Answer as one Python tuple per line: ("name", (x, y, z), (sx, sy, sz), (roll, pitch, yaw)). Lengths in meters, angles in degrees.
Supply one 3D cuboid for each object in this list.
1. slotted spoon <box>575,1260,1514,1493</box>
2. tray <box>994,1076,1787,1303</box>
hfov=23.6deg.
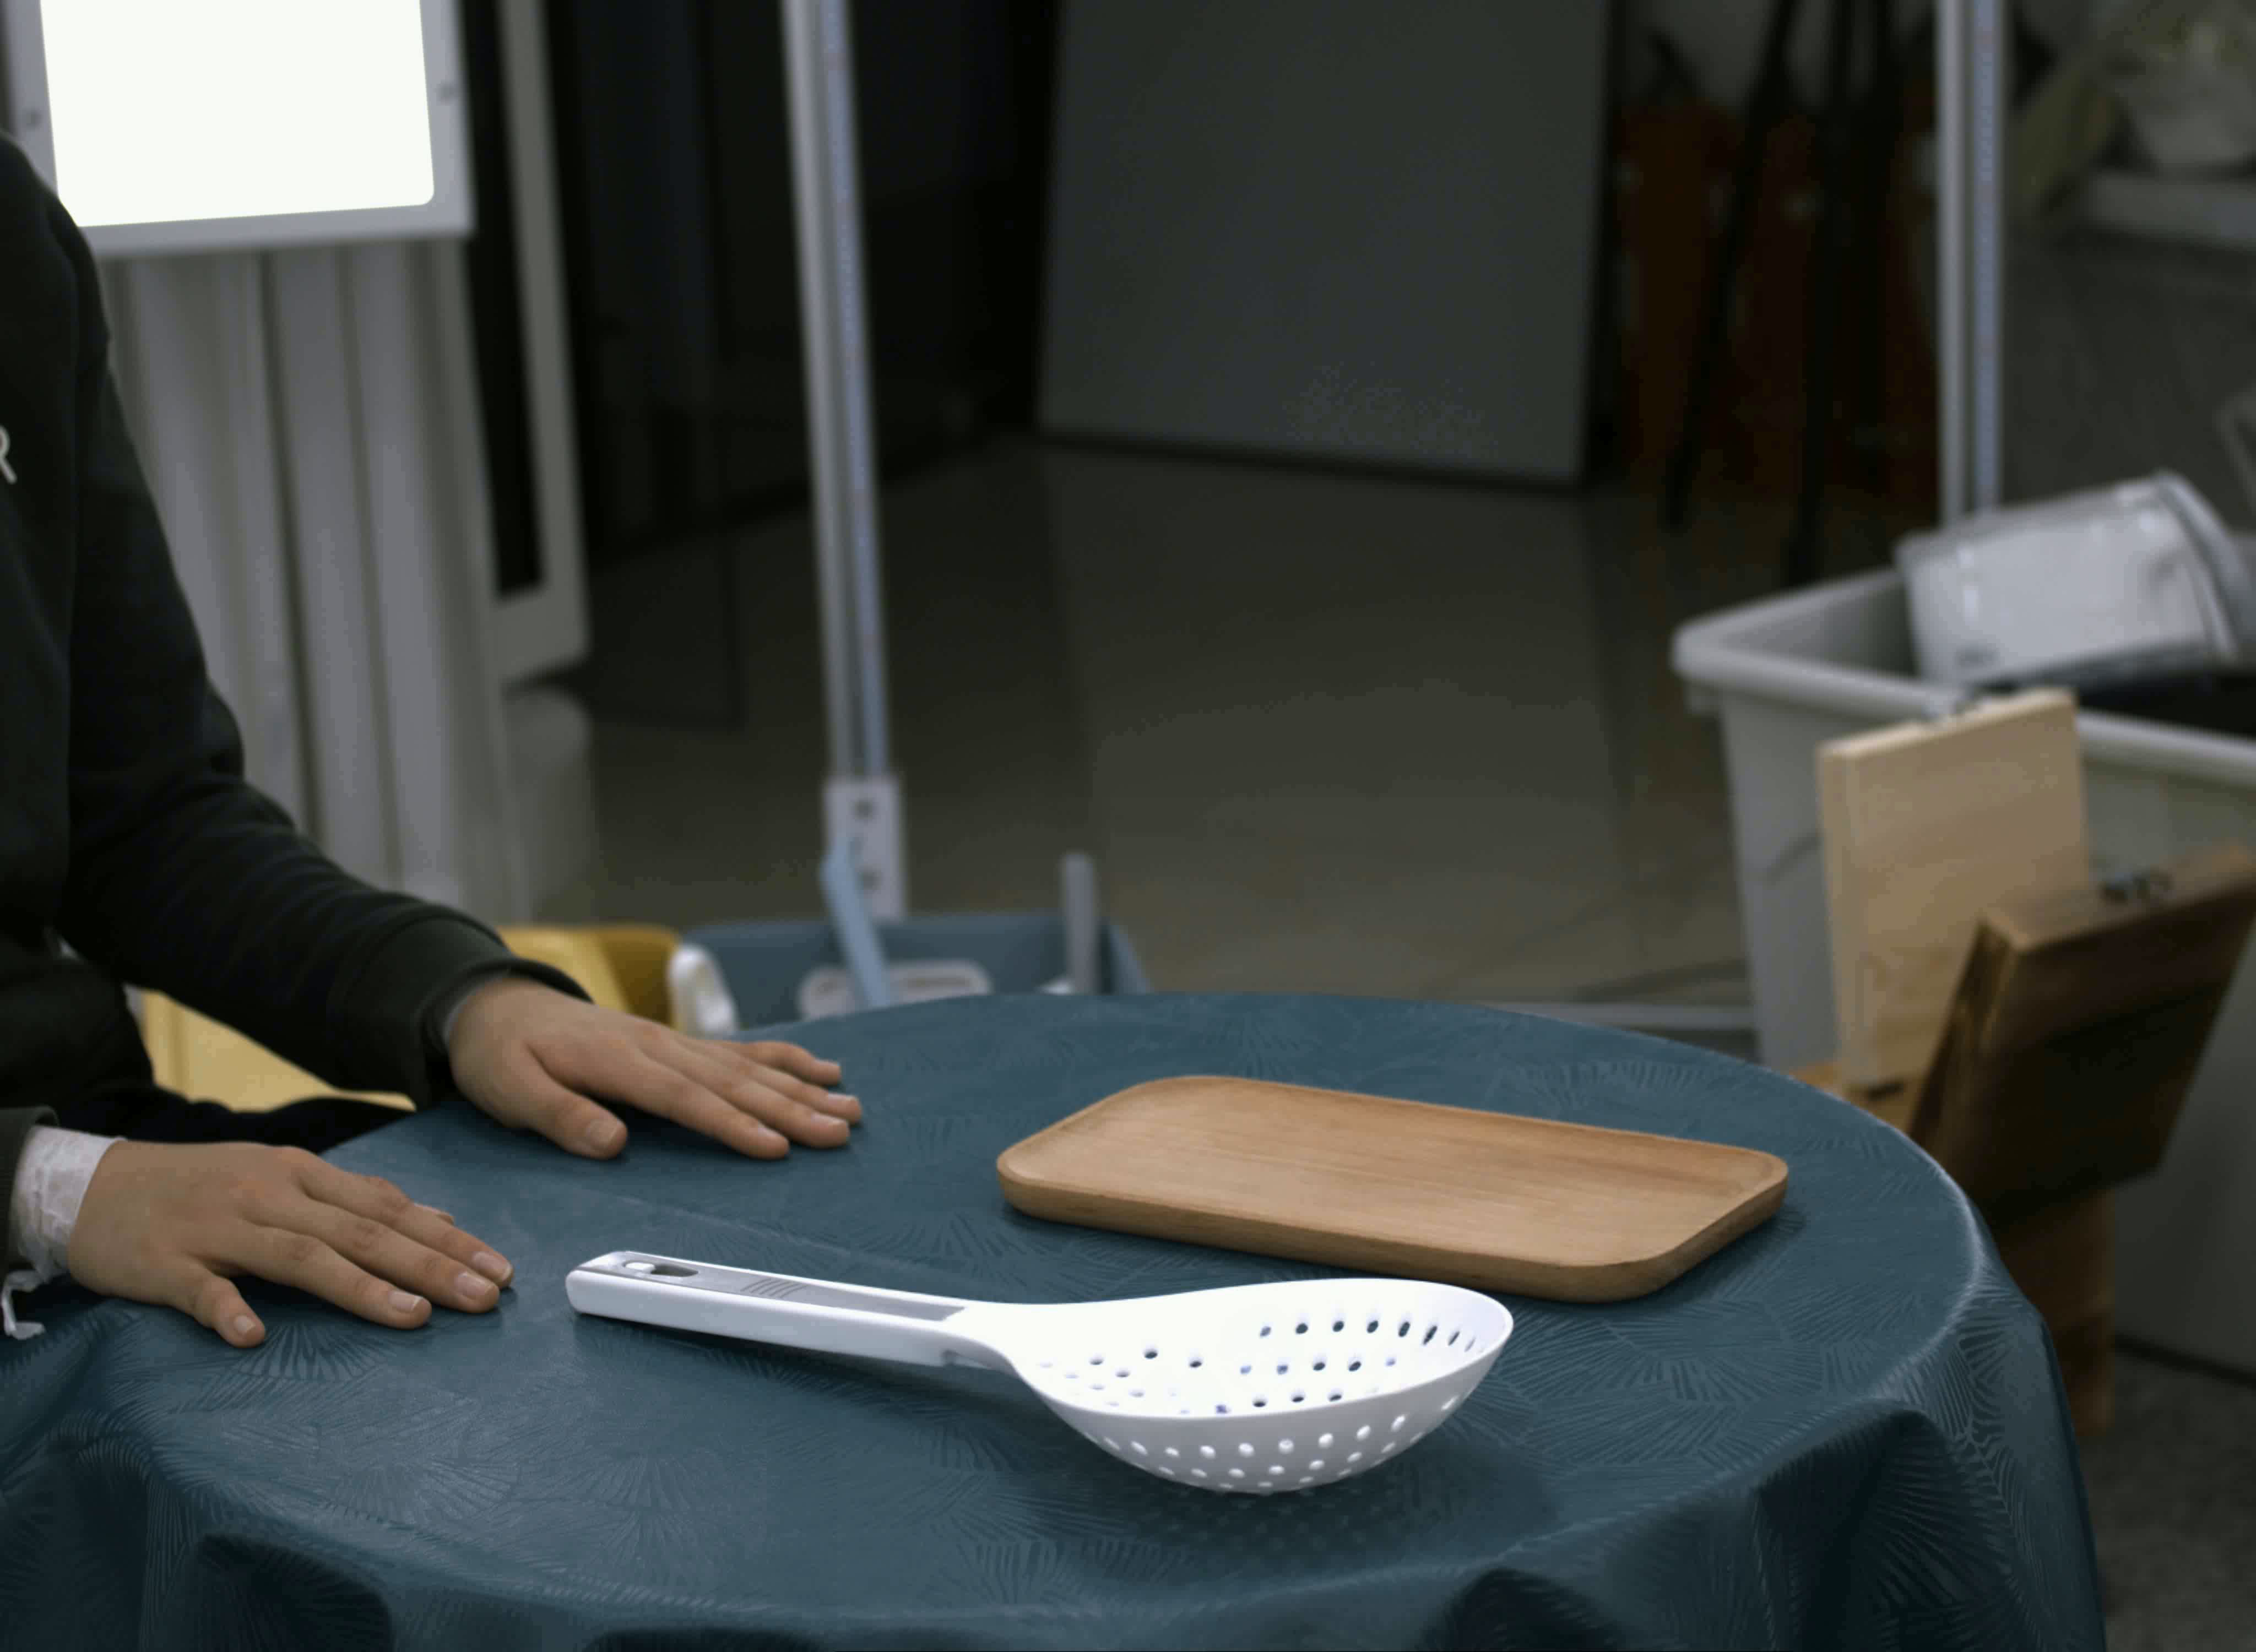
("slotted spoon", (-0.038, 0.149, 1.574), (0.353, 0.046, 0.133), (8, 16, 42))
("tray", (0.083, 0.116, 1.735), (0.252, 0.023, 0.128), (5, 14, 35))
